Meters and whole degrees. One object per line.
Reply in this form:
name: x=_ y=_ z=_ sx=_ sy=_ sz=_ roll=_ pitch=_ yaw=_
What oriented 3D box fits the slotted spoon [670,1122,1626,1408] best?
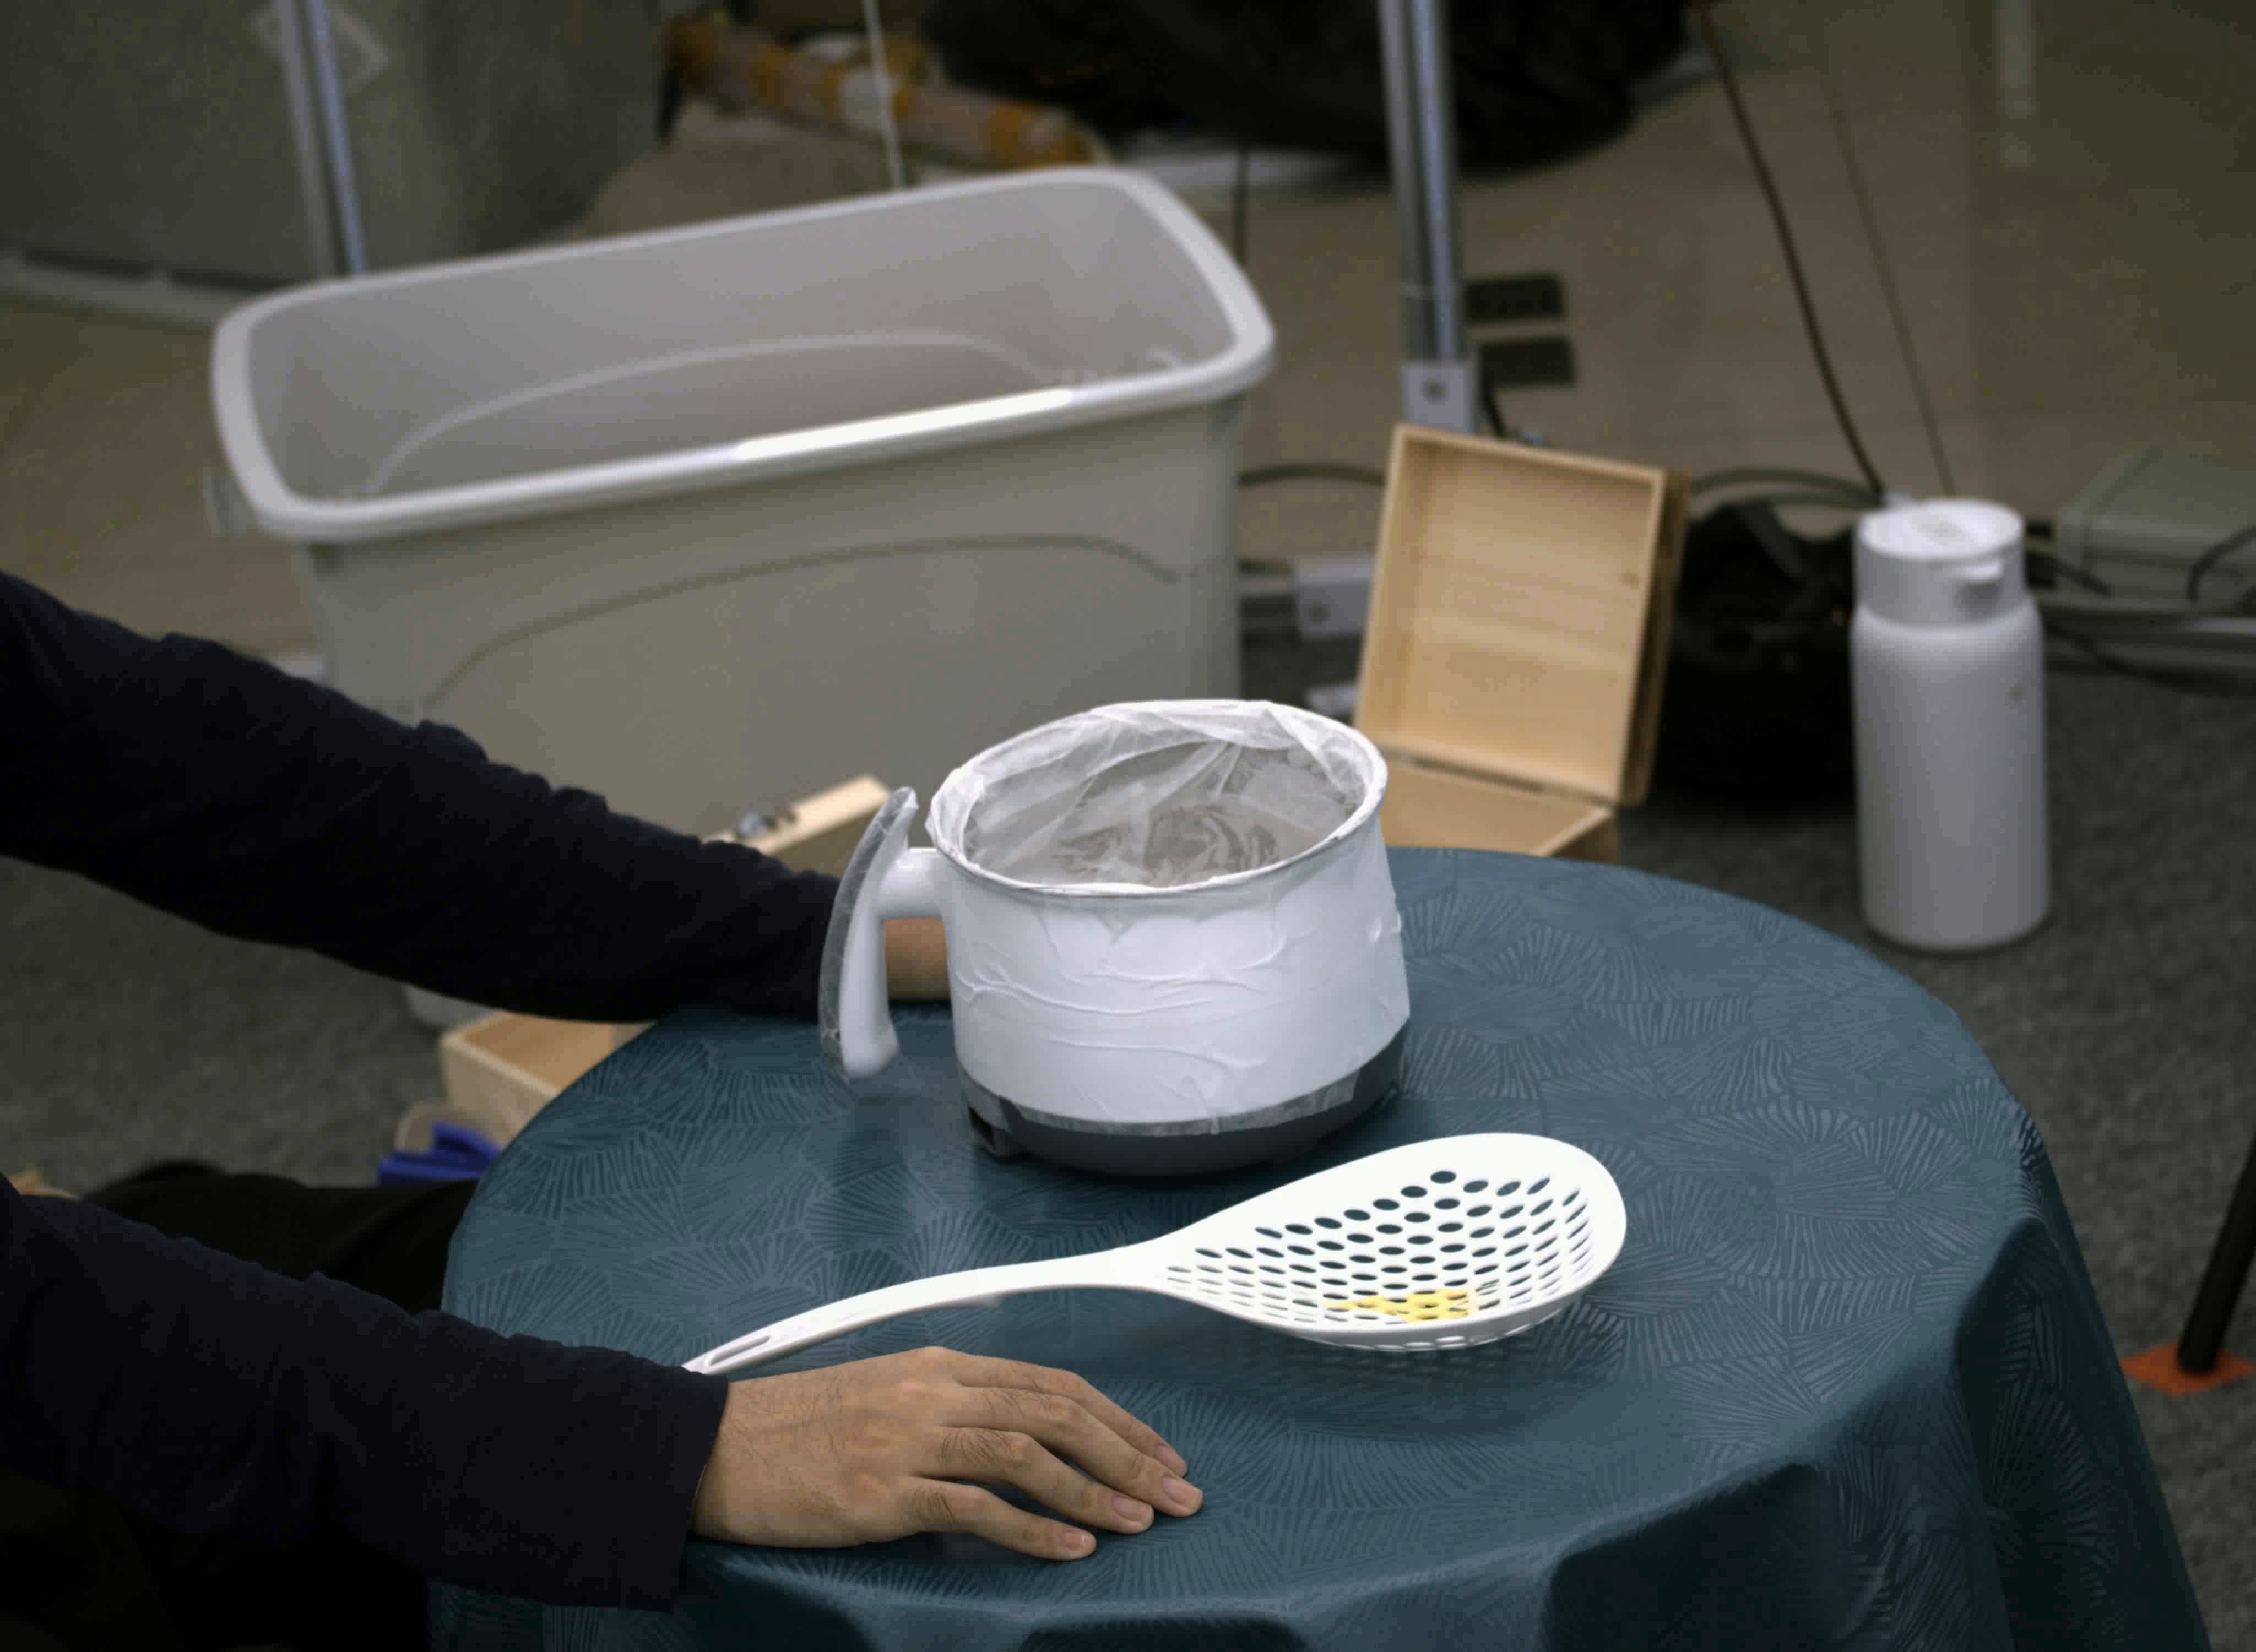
slotted spoon: x=0.006 y=0.168 z=2.035 sx=0.347 sy=0.051 sz=0.135 roll=-5 pitch=26 yaw=2

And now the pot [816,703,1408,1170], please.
pot: x=-0.009 y=0.044 z=2.190 sx=0.233 sy=0.138 sz=0.176 roll=-1 pitch=23 yaw=9
